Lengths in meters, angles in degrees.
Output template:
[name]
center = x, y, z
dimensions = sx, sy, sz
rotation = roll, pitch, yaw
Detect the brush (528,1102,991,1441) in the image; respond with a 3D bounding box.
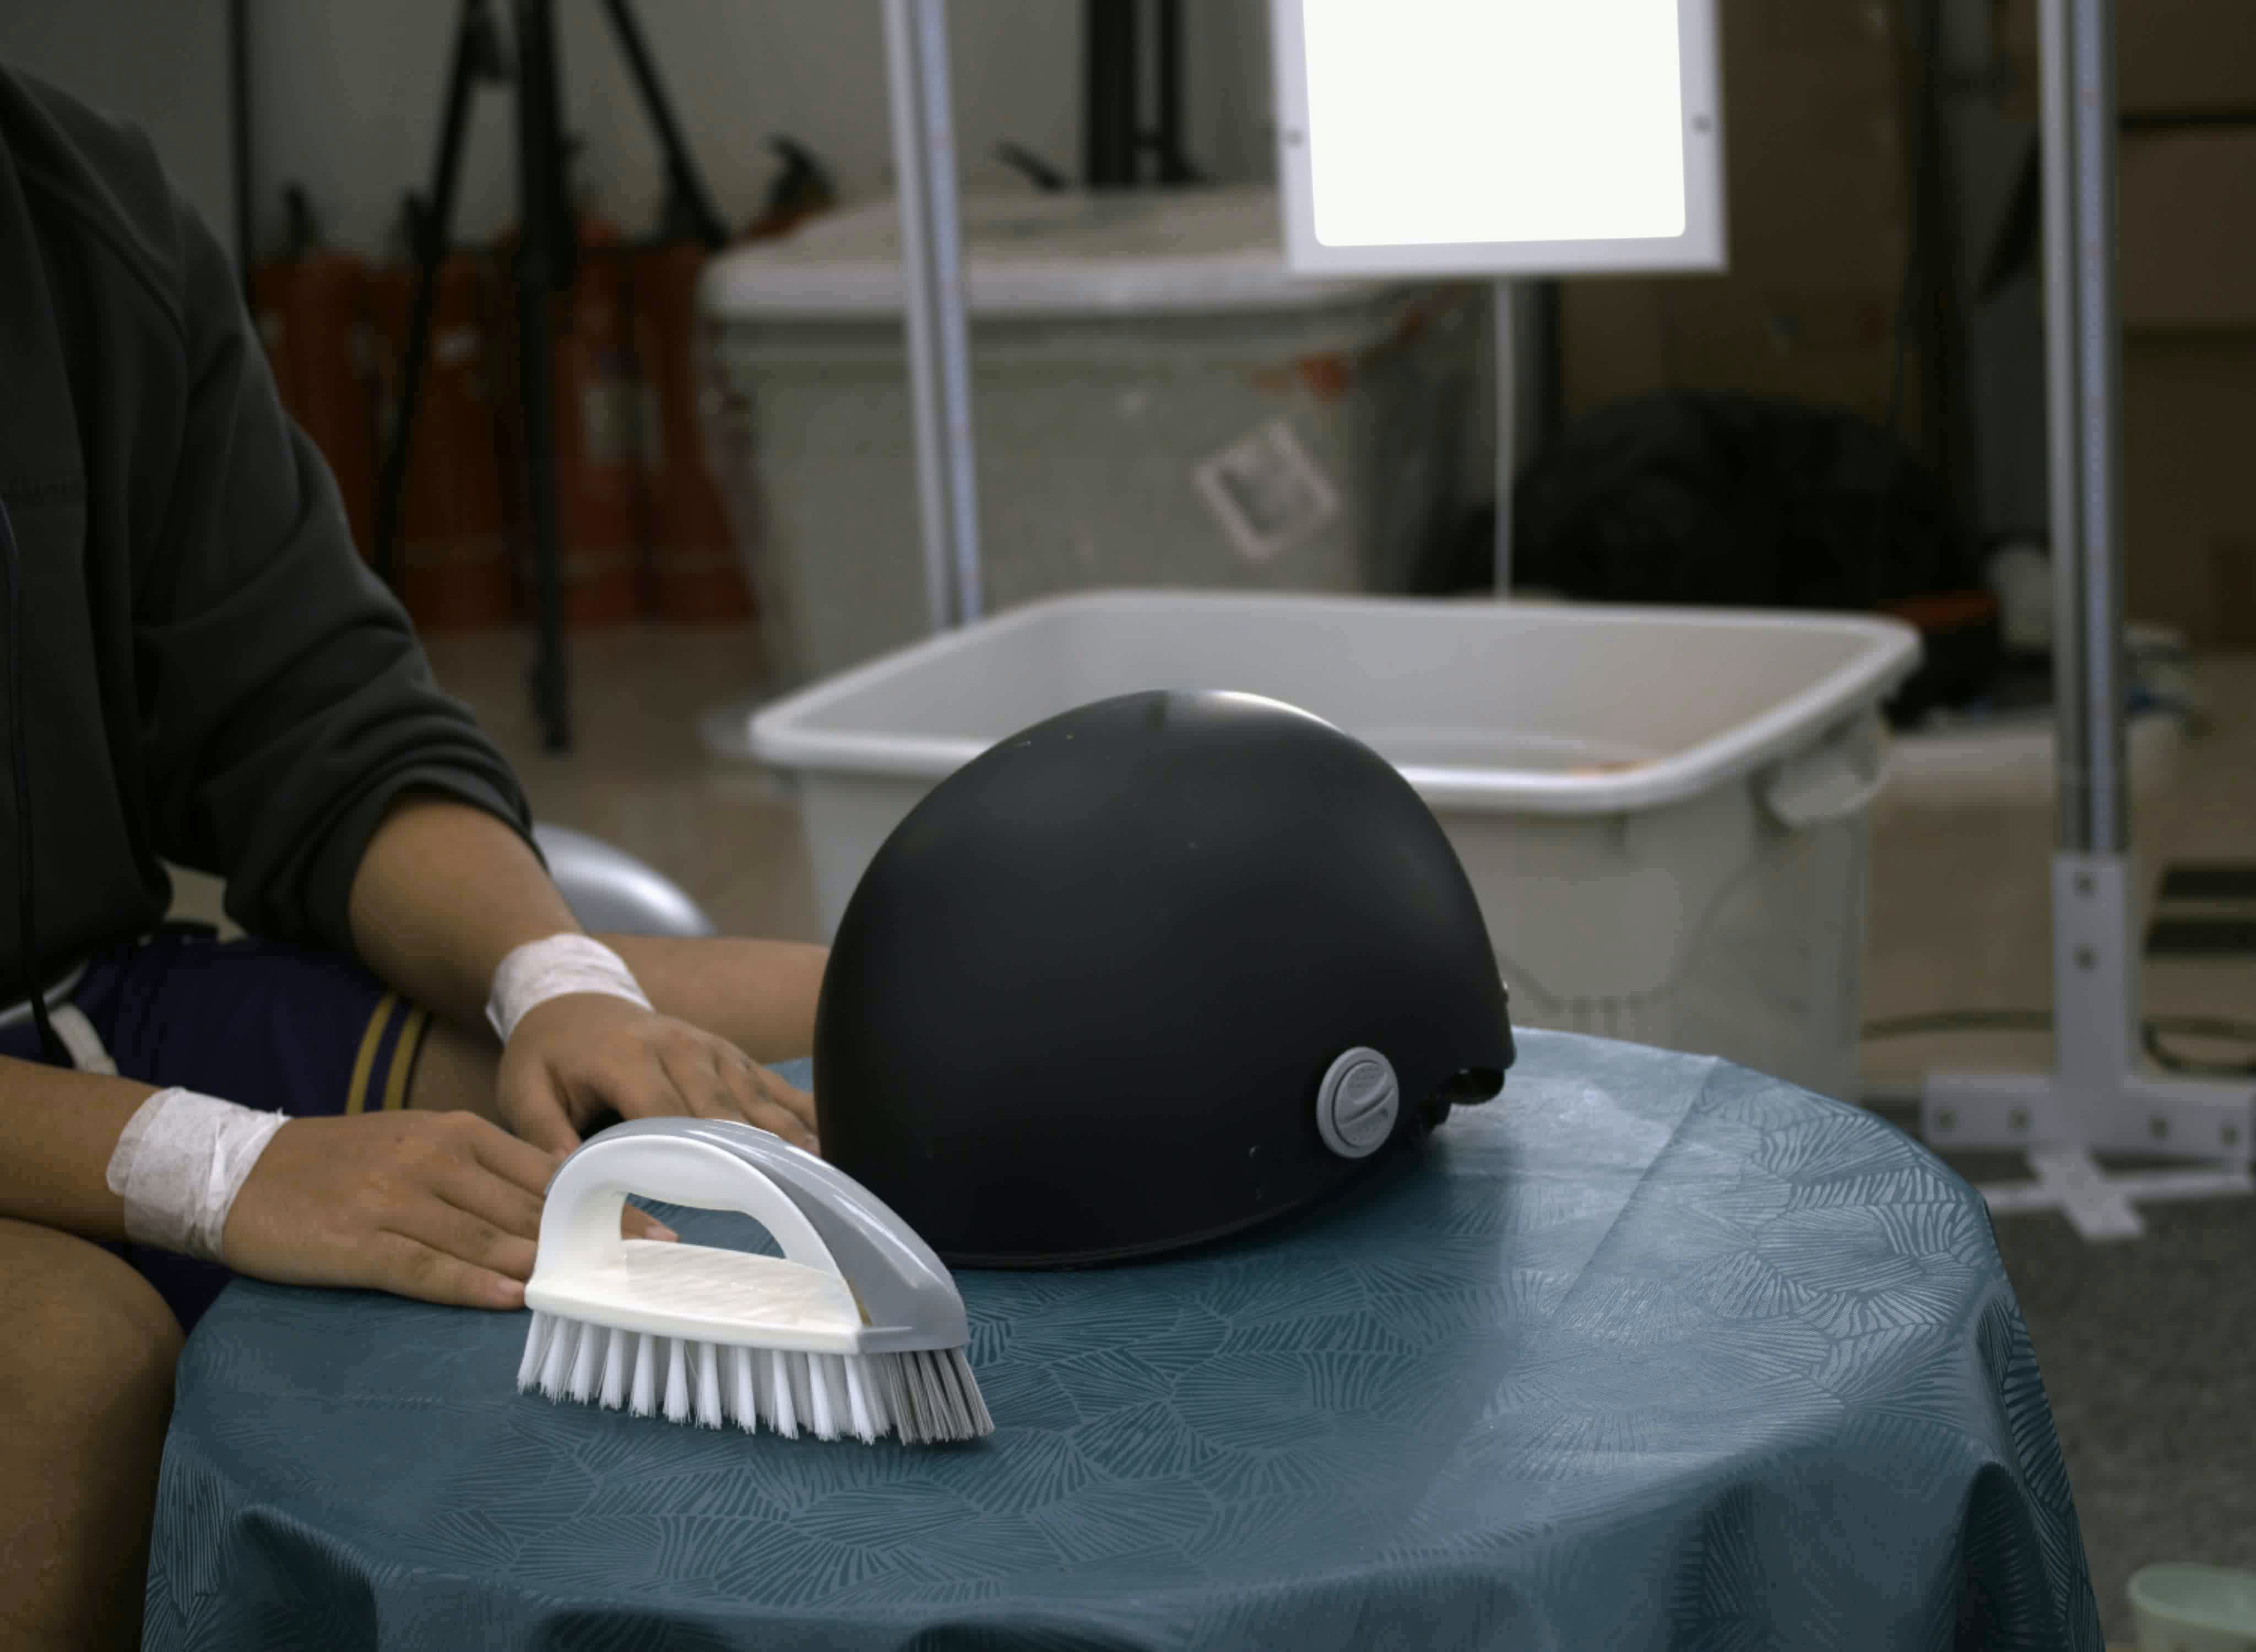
[brush]
center = -0.114, 0.135, 1.709
dimensions = 0.179, 0.094, 0.060
rotation = 9, 21, 39

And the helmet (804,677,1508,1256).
[helmet]
center = 0.004, 0.038, 1.920
dimensions = 0.235, 0.167, 0.266
rotation = 6, 19, 38
